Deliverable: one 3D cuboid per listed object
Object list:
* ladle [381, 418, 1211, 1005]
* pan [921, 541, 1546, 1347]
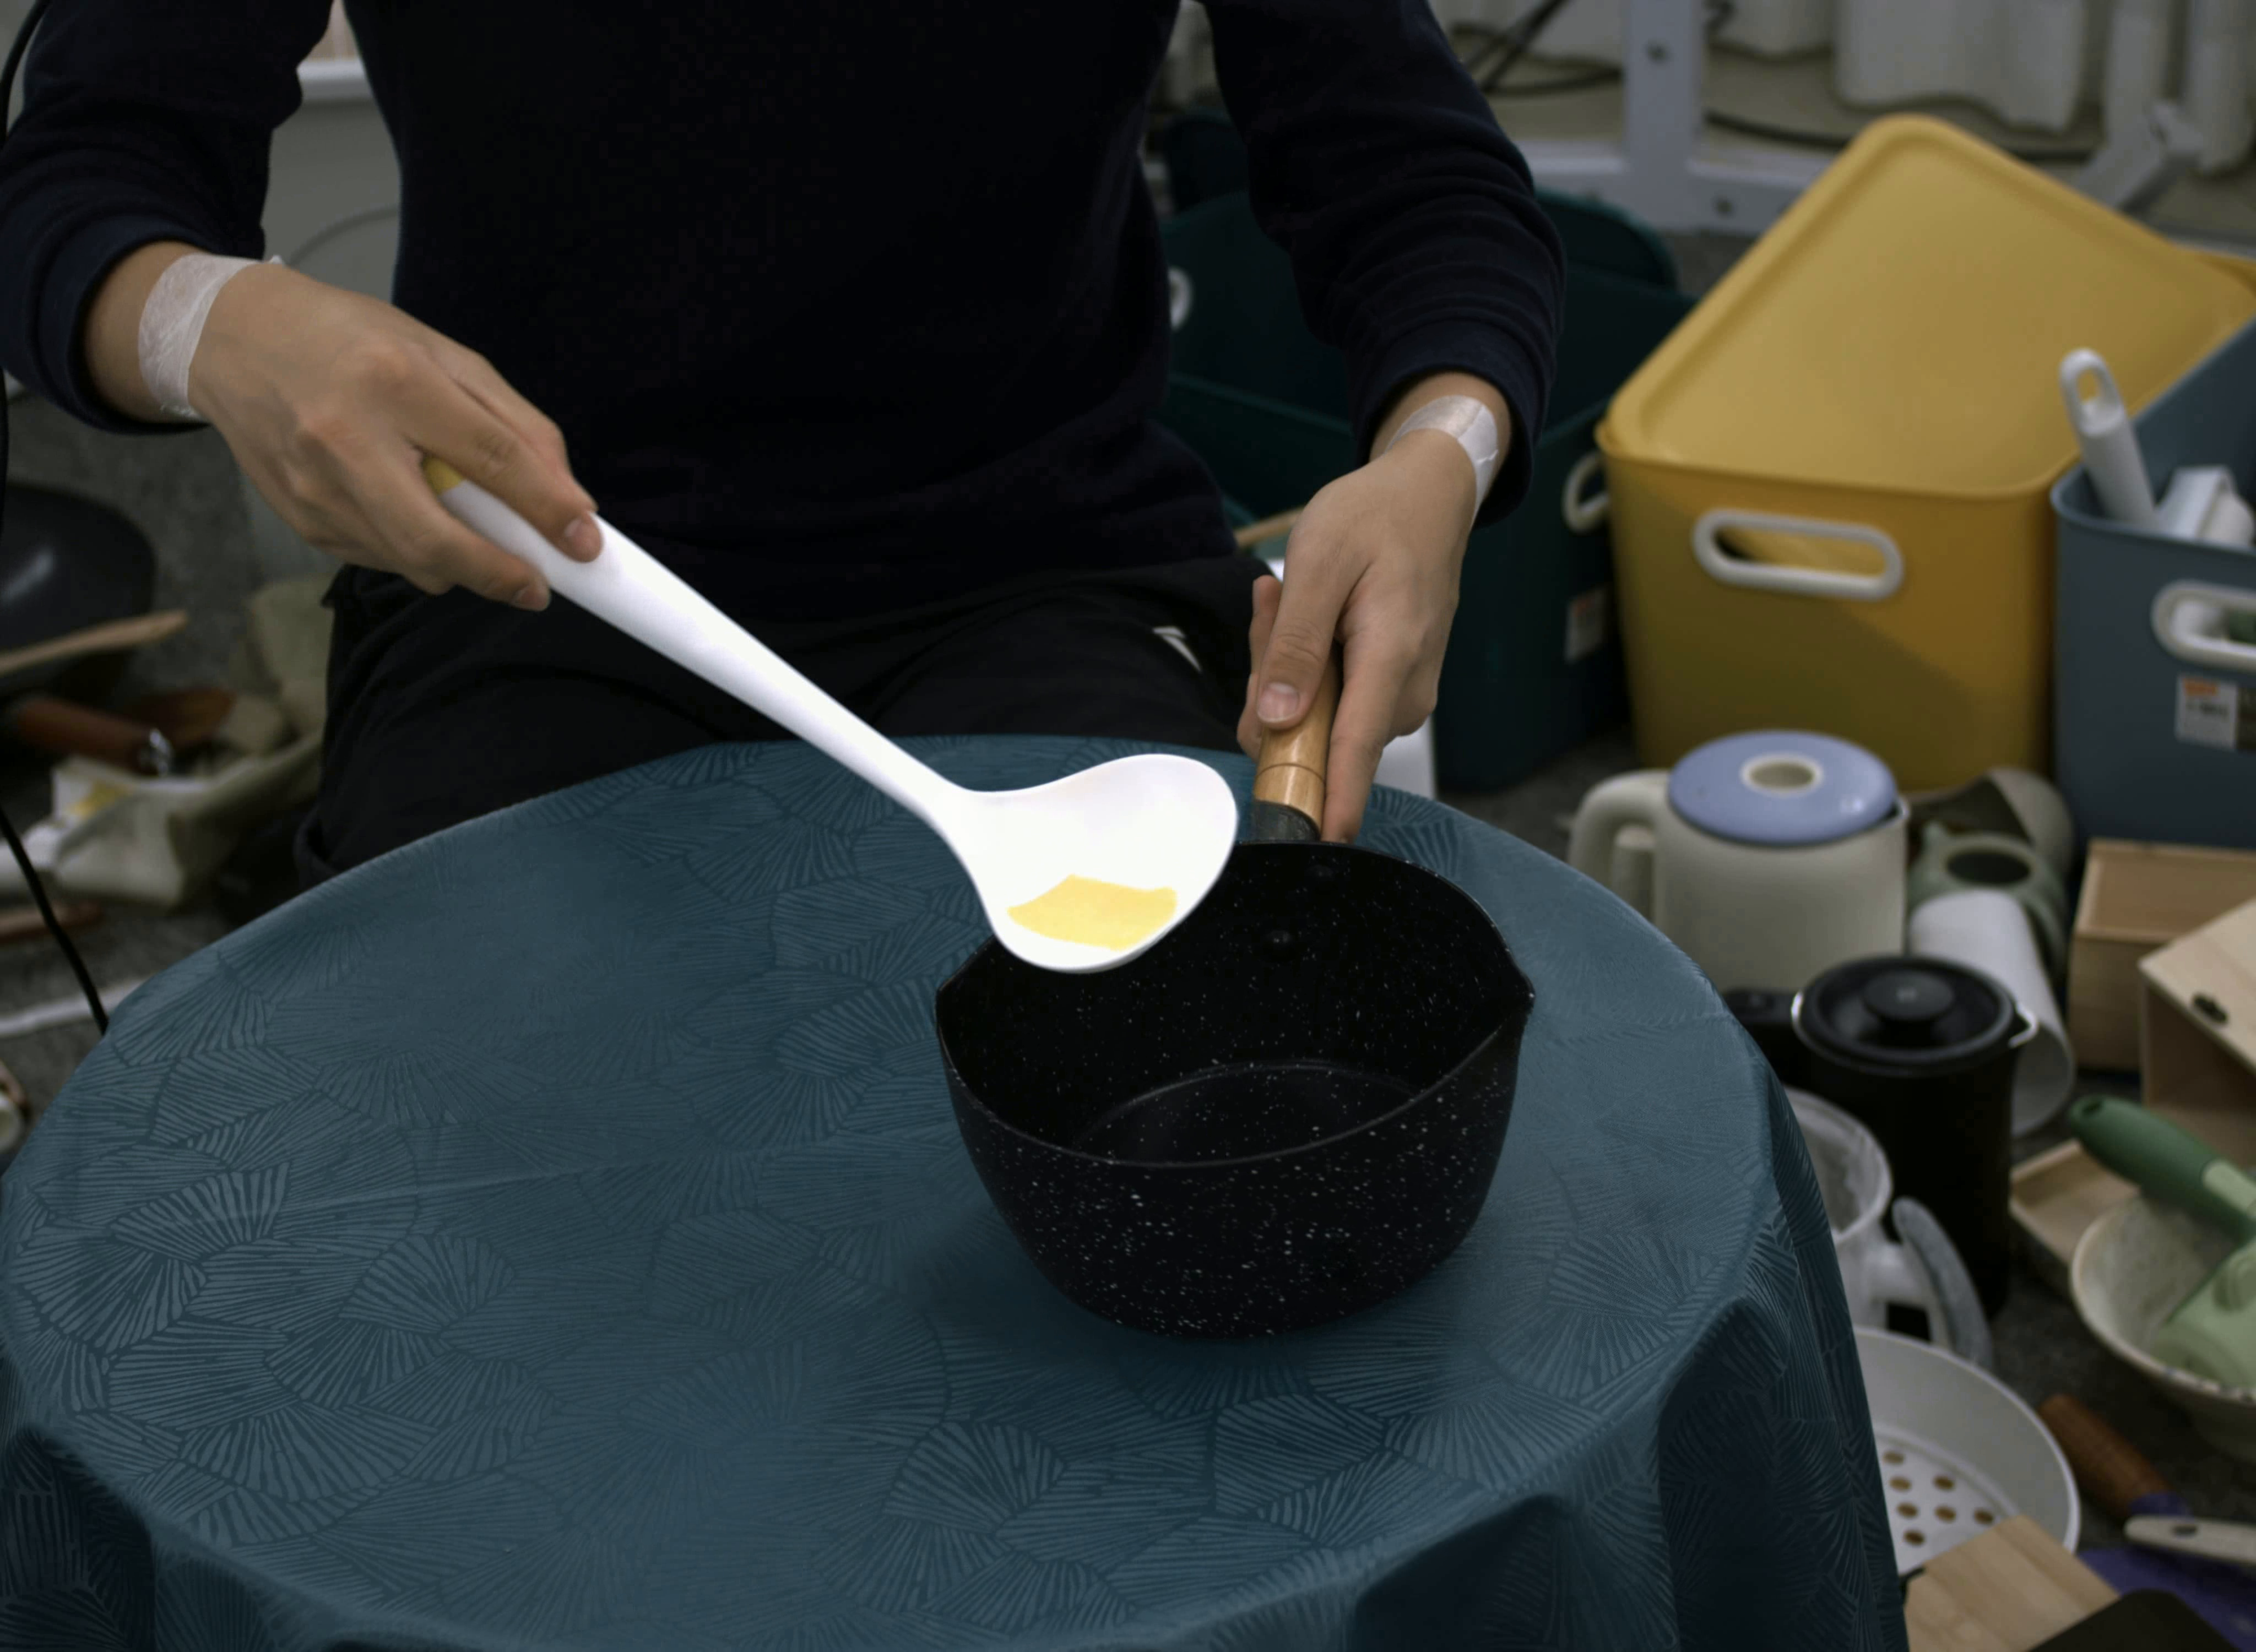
[{"bbox_3d":[-0.109,-0.043,1.776,0.292,0.069,0.091,34,69,4],"label":"ladle"},{"bbox_3d":[0.046,0.036,1.878,0.206,0.107,0.349,-3,33,11],"label":"pan"}]
